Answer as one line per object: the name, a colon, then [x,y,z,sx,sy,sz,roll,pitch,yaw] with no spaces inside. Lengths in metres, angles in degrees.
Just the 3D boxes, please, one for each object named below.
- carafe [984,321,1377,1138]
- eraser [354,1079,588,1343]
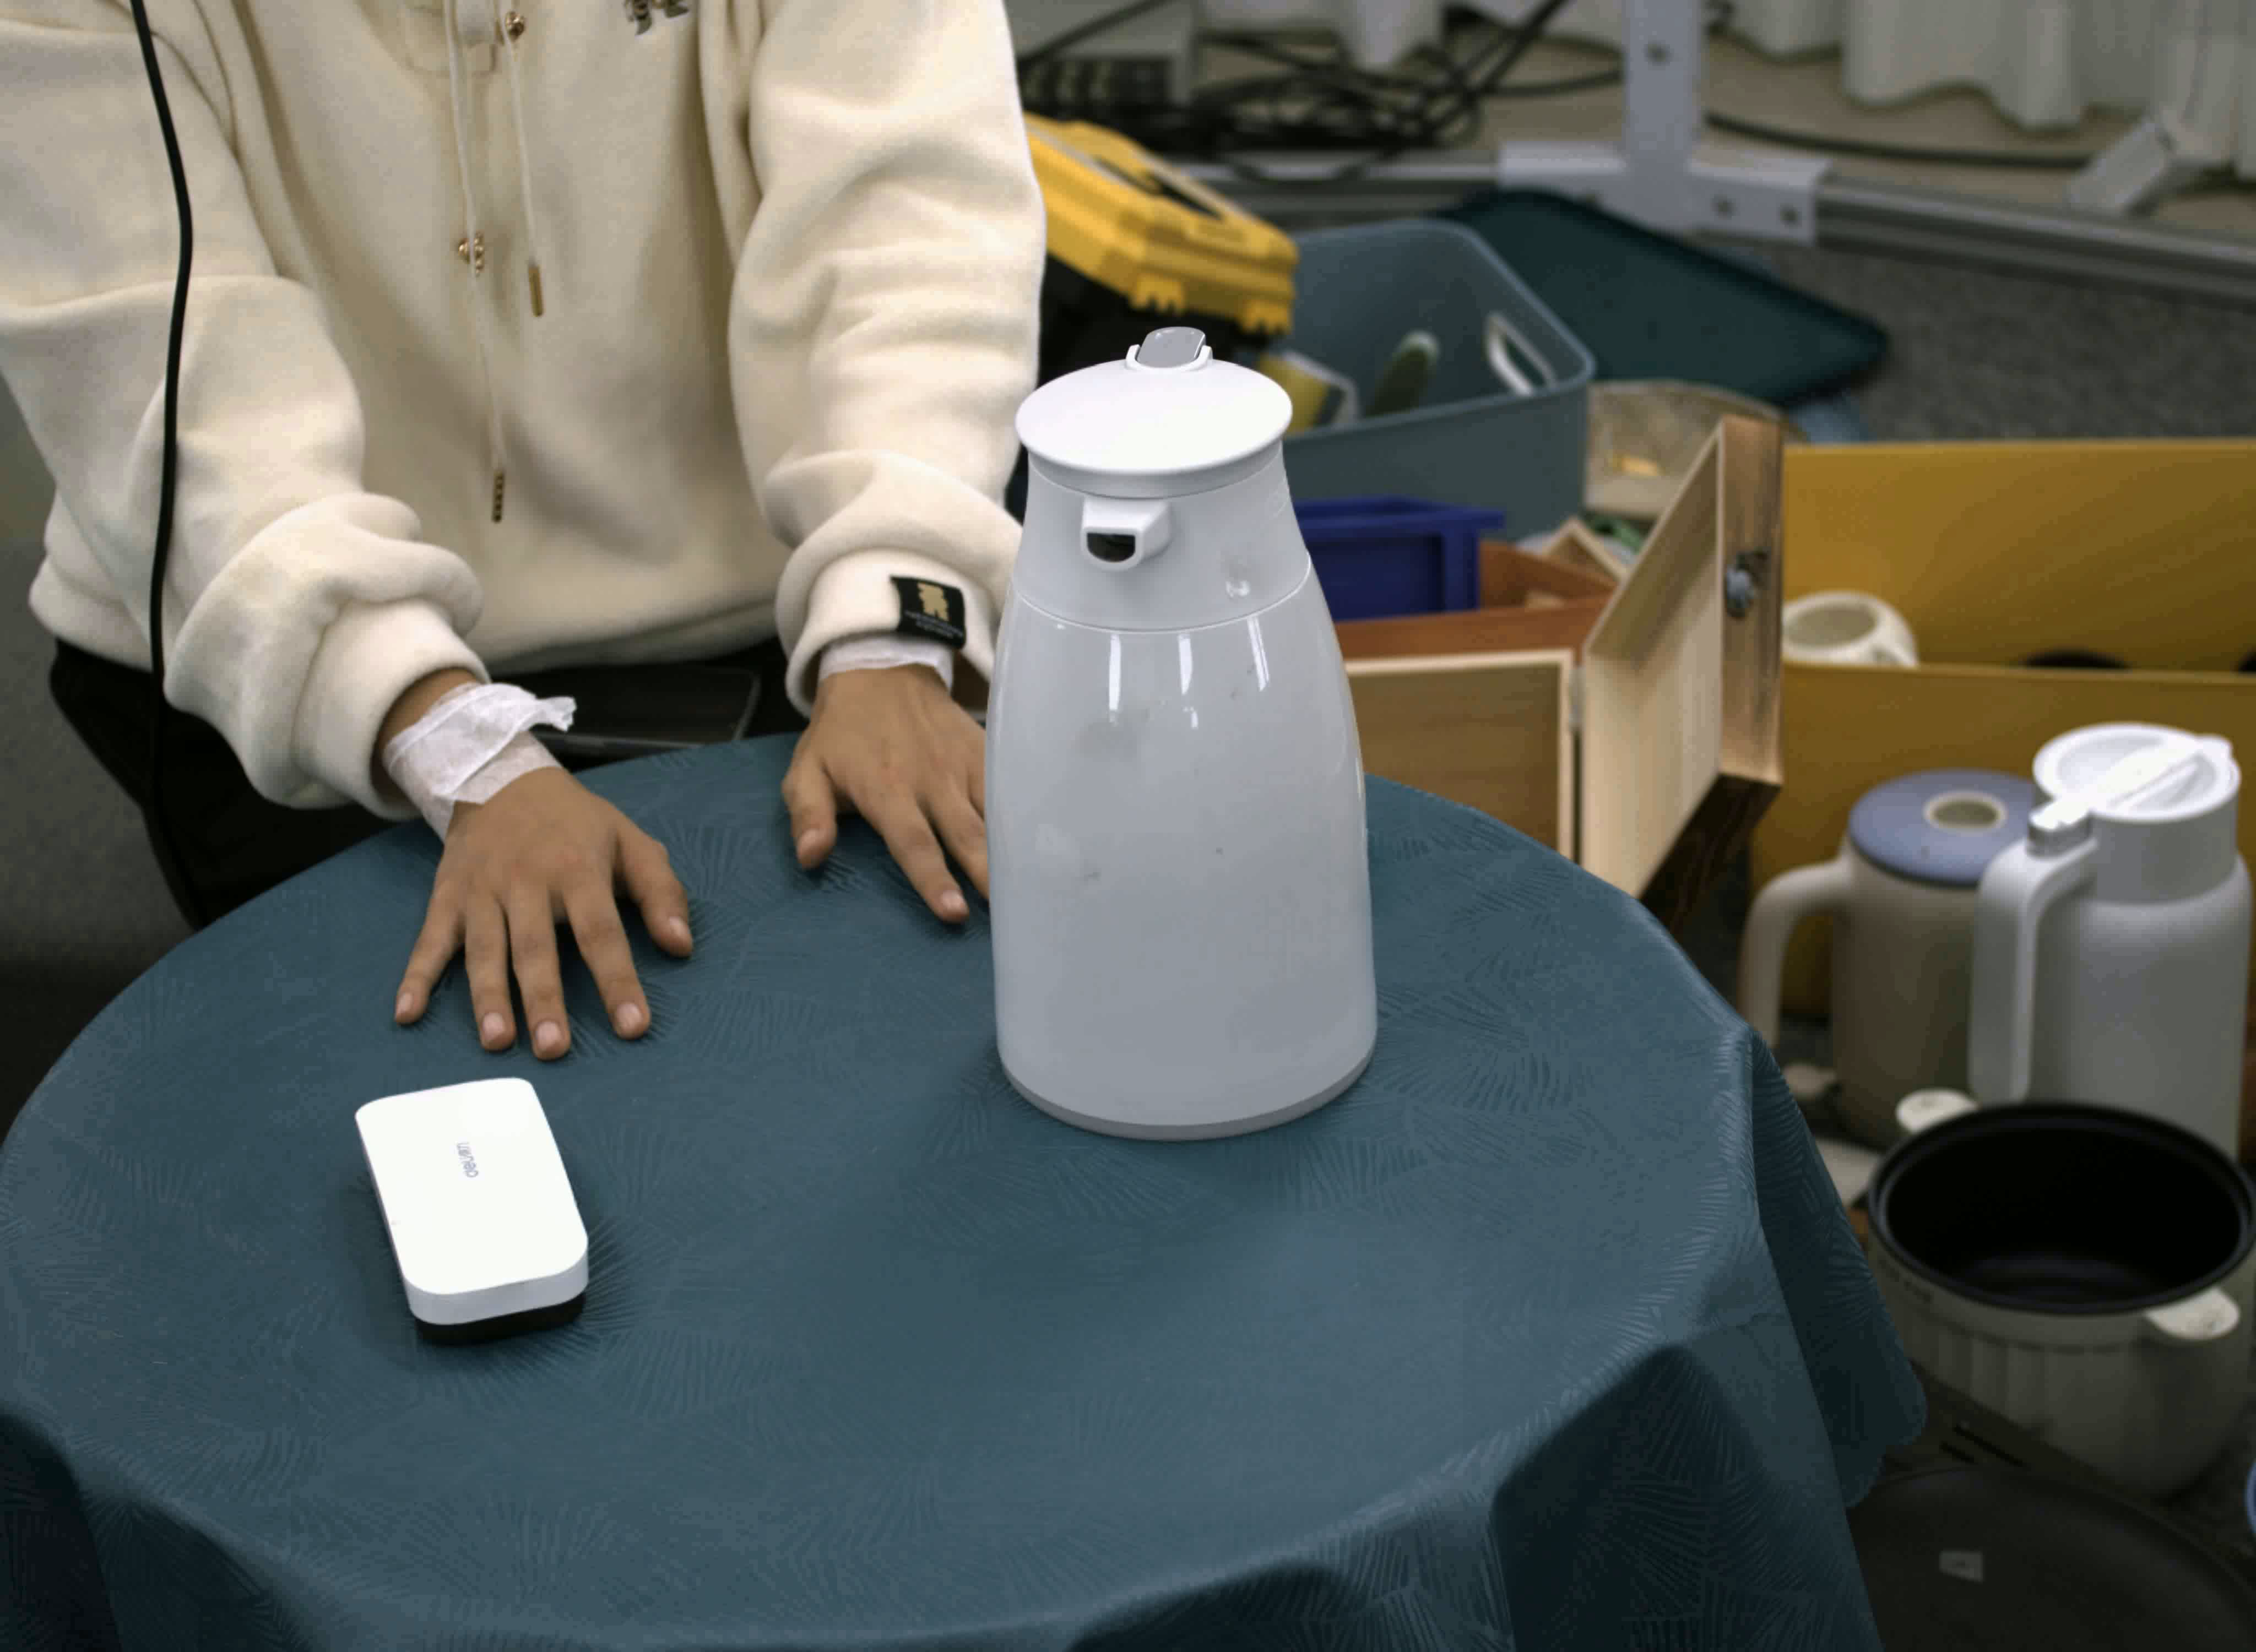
carafe: [0.017,-0.043,1.910,0.131,0.246,0.170,2,26,12]
eraser: [-0.215,0.123,1.846,0.063,0.034,0.132,-7,28,-13]
